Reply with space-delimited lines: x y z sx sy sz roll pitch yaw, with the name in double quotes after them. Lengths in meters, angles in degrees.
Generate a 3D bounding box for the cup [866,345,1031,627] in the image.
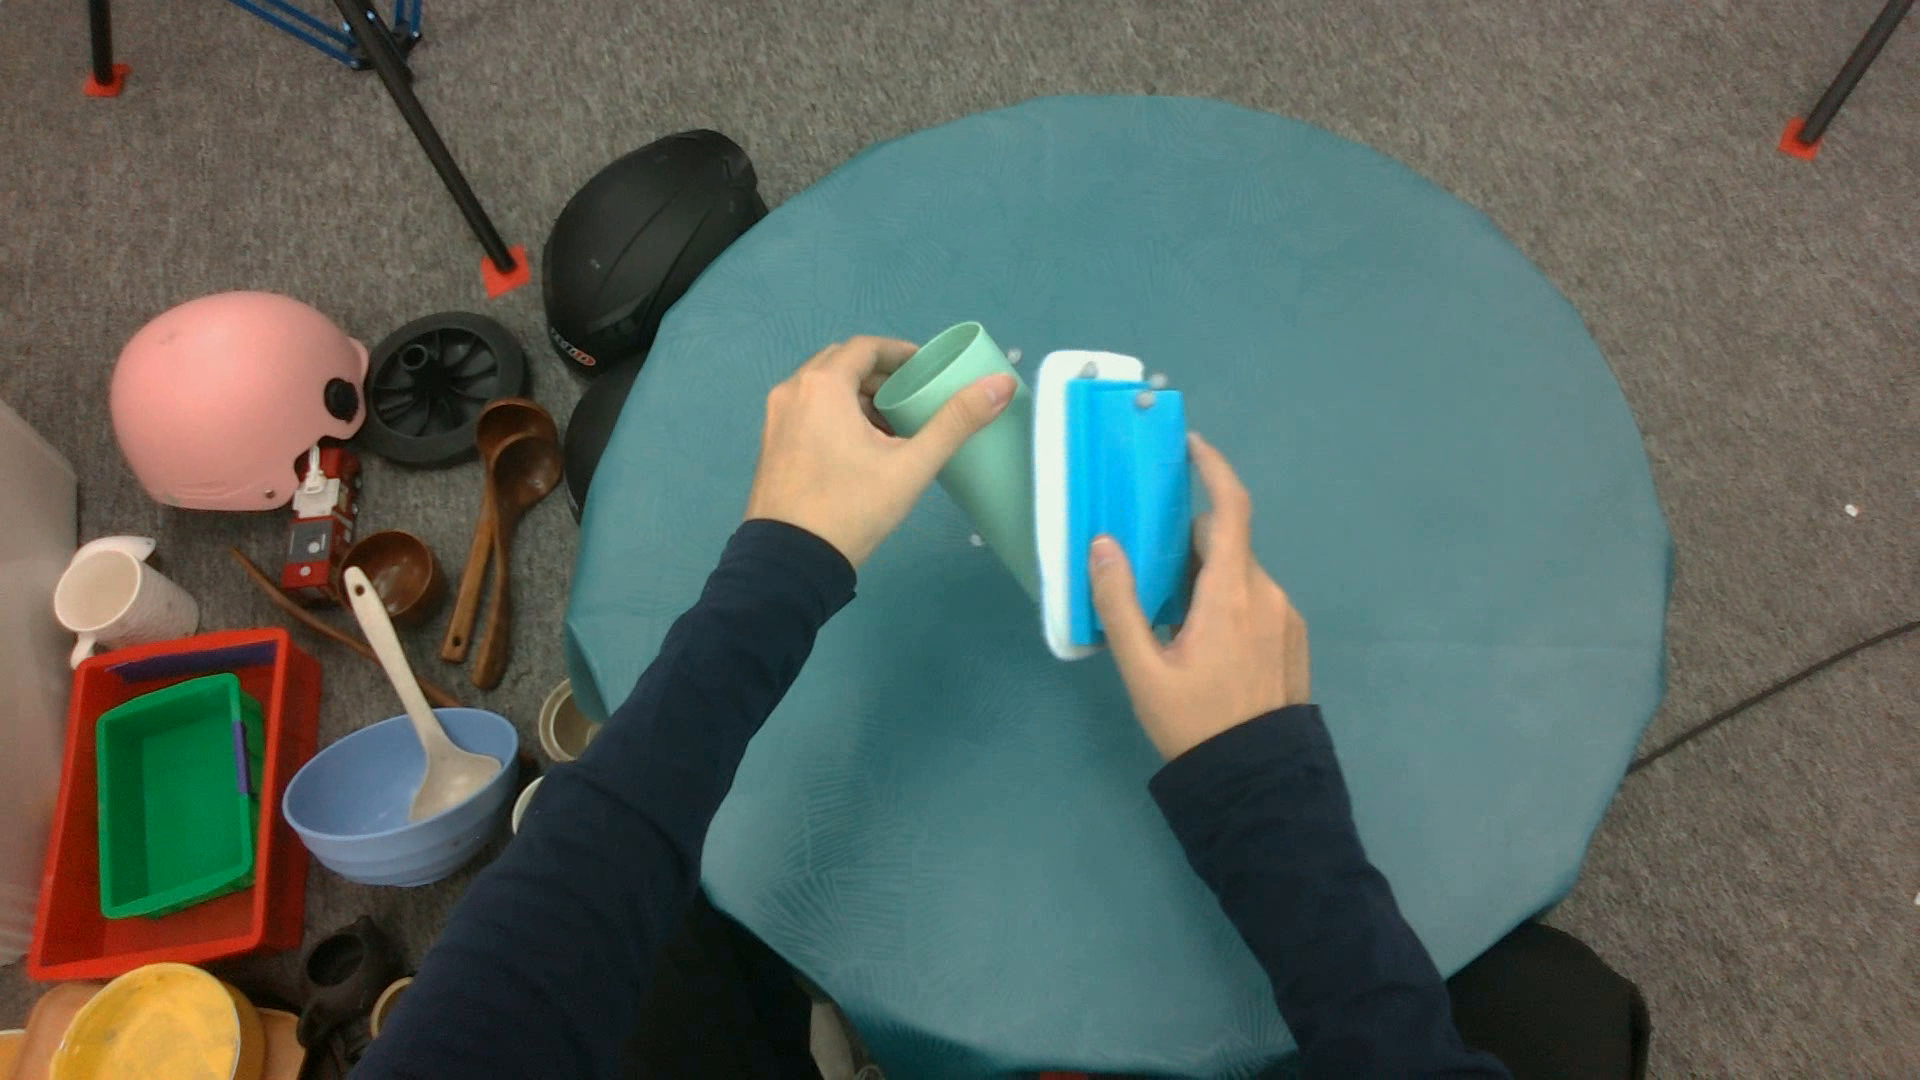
0.015 -0.026 0.687 0.066 0.132 0.067 -29 24 14 "cup"

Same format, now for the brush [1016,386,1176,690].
0.071 -0.002 0.646 0.056 0.084 0.144 -4 90 47 "brush"
